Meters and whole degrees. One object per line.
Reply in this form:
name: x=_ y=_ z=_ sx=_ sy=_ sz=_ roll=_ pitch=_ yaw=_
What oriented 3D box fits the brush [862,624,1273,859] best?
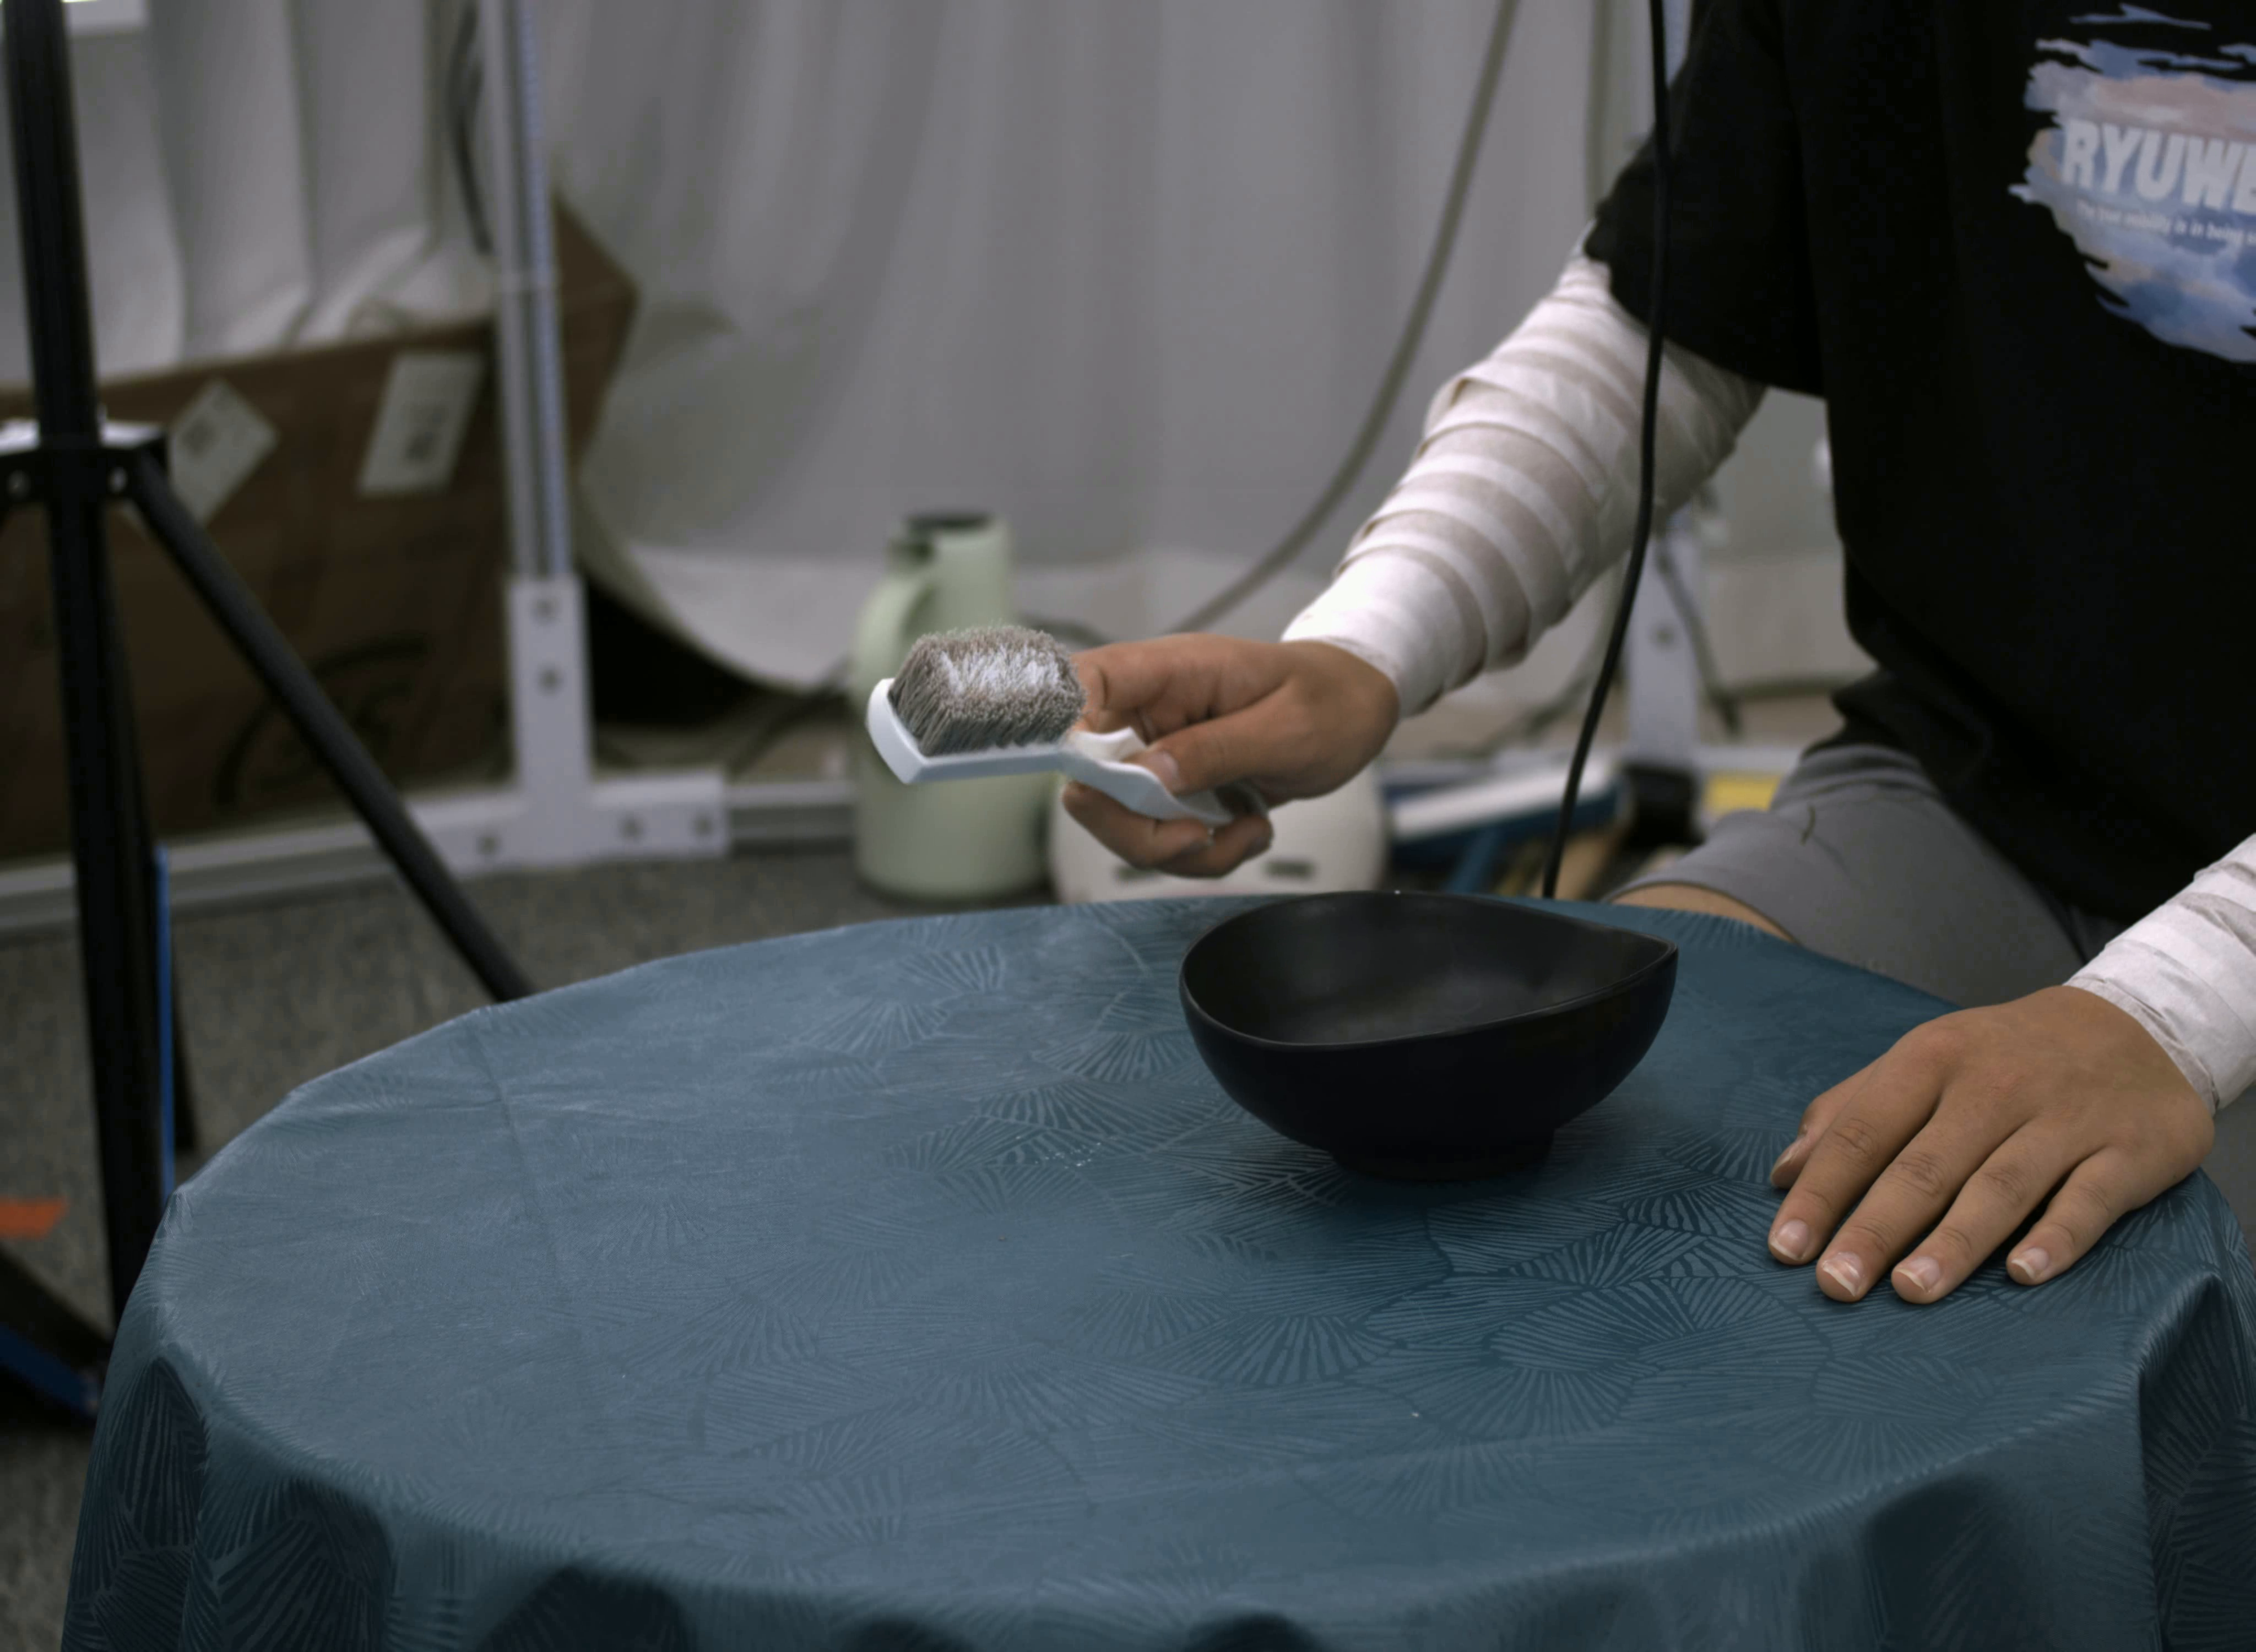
brush: x=-0.003 y=-0.026 z=1.711 sx=0.050 sy=0.035 sz=0.237 roll=-37 pitch=-26 yaw=23

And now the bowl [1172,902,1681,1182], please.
bowl: x=0.090 y=0.066 z=1.577 sx=0.140 sy=0.067 sz=0.166 roll=12 pitch=19 yaw=41
